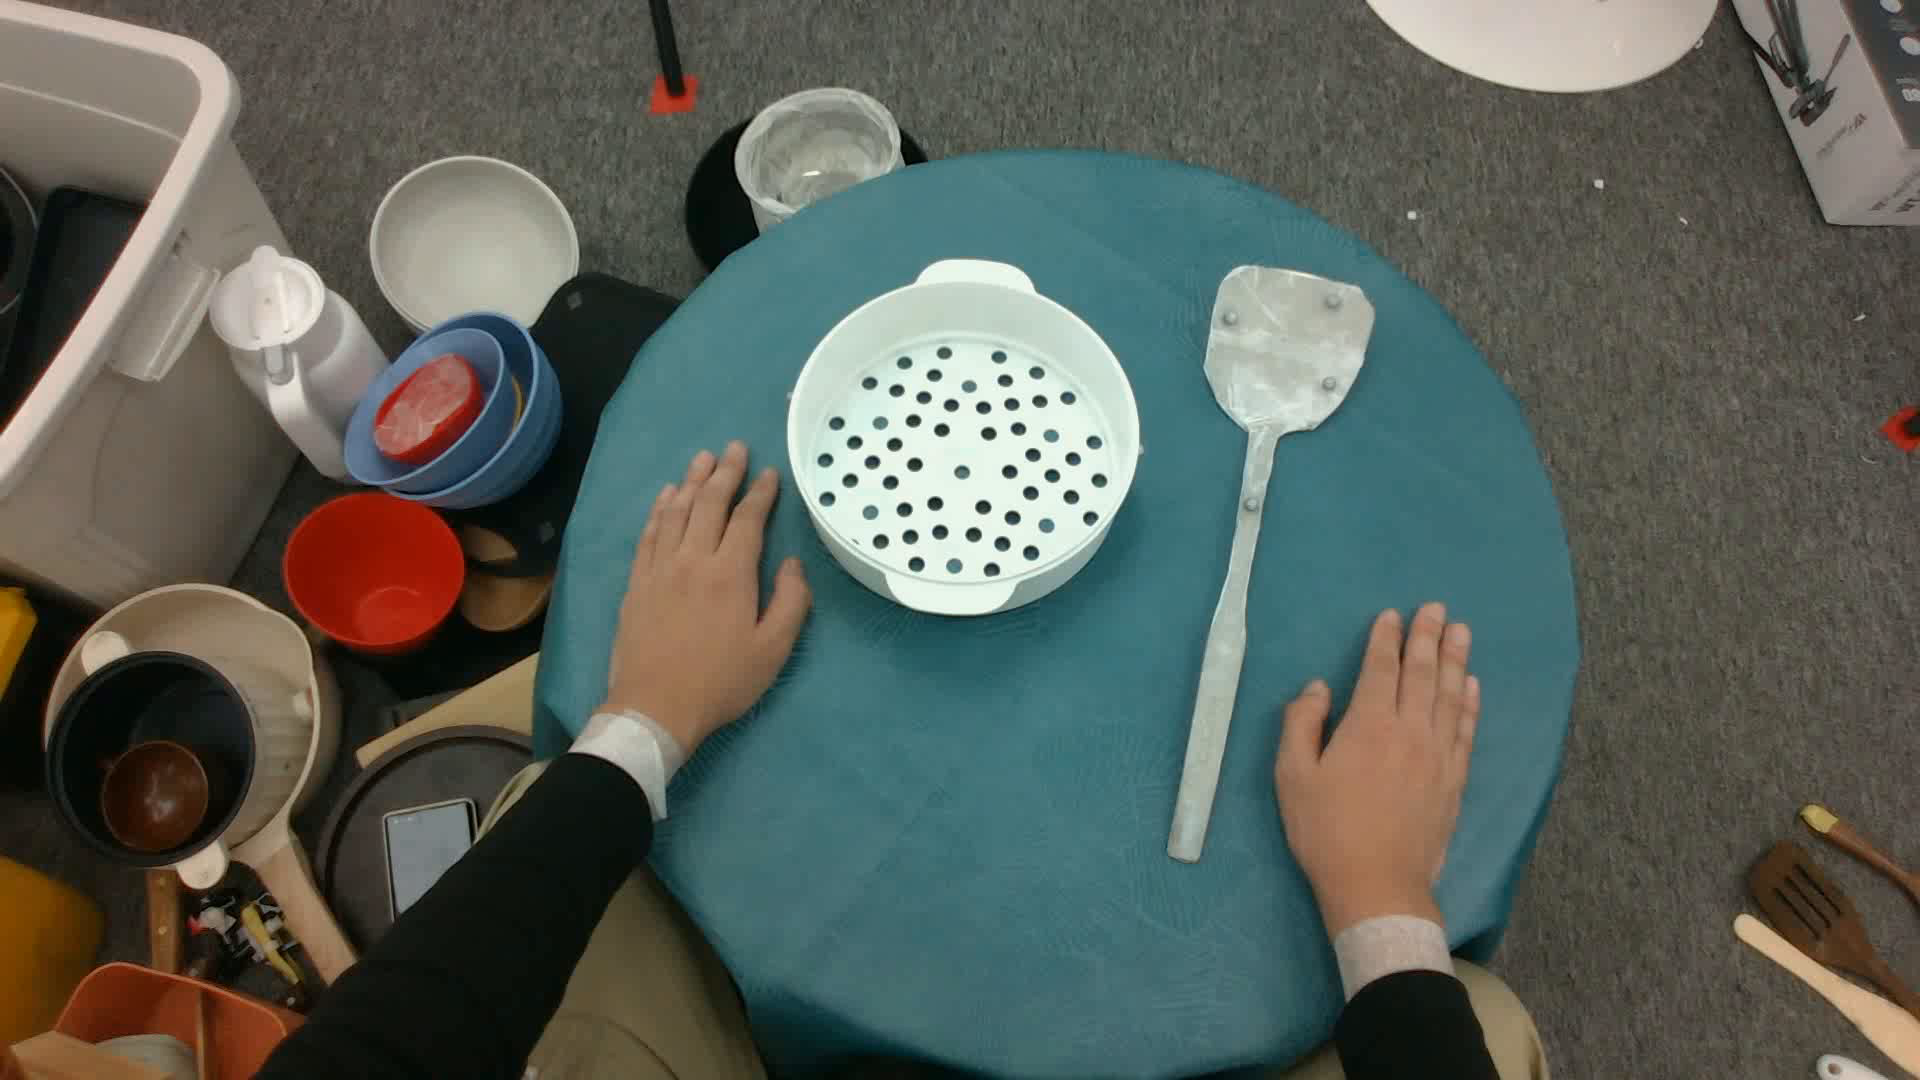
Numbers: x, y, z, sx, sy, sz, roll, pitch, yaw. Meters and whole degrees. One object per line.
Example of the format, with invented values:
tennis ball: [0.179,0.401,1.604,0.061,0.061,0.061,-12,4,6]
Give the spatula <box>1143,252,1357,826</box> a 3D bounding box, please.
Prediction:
spatula: [0.159,-0.009,0.811,0.098,0.044,0.366,15,66,2]

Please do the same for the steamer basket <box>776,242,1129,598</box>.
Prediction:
steamer basket: [-0.004,-0.064,0.812,0.202,0.069,0.231,4,66,1]
